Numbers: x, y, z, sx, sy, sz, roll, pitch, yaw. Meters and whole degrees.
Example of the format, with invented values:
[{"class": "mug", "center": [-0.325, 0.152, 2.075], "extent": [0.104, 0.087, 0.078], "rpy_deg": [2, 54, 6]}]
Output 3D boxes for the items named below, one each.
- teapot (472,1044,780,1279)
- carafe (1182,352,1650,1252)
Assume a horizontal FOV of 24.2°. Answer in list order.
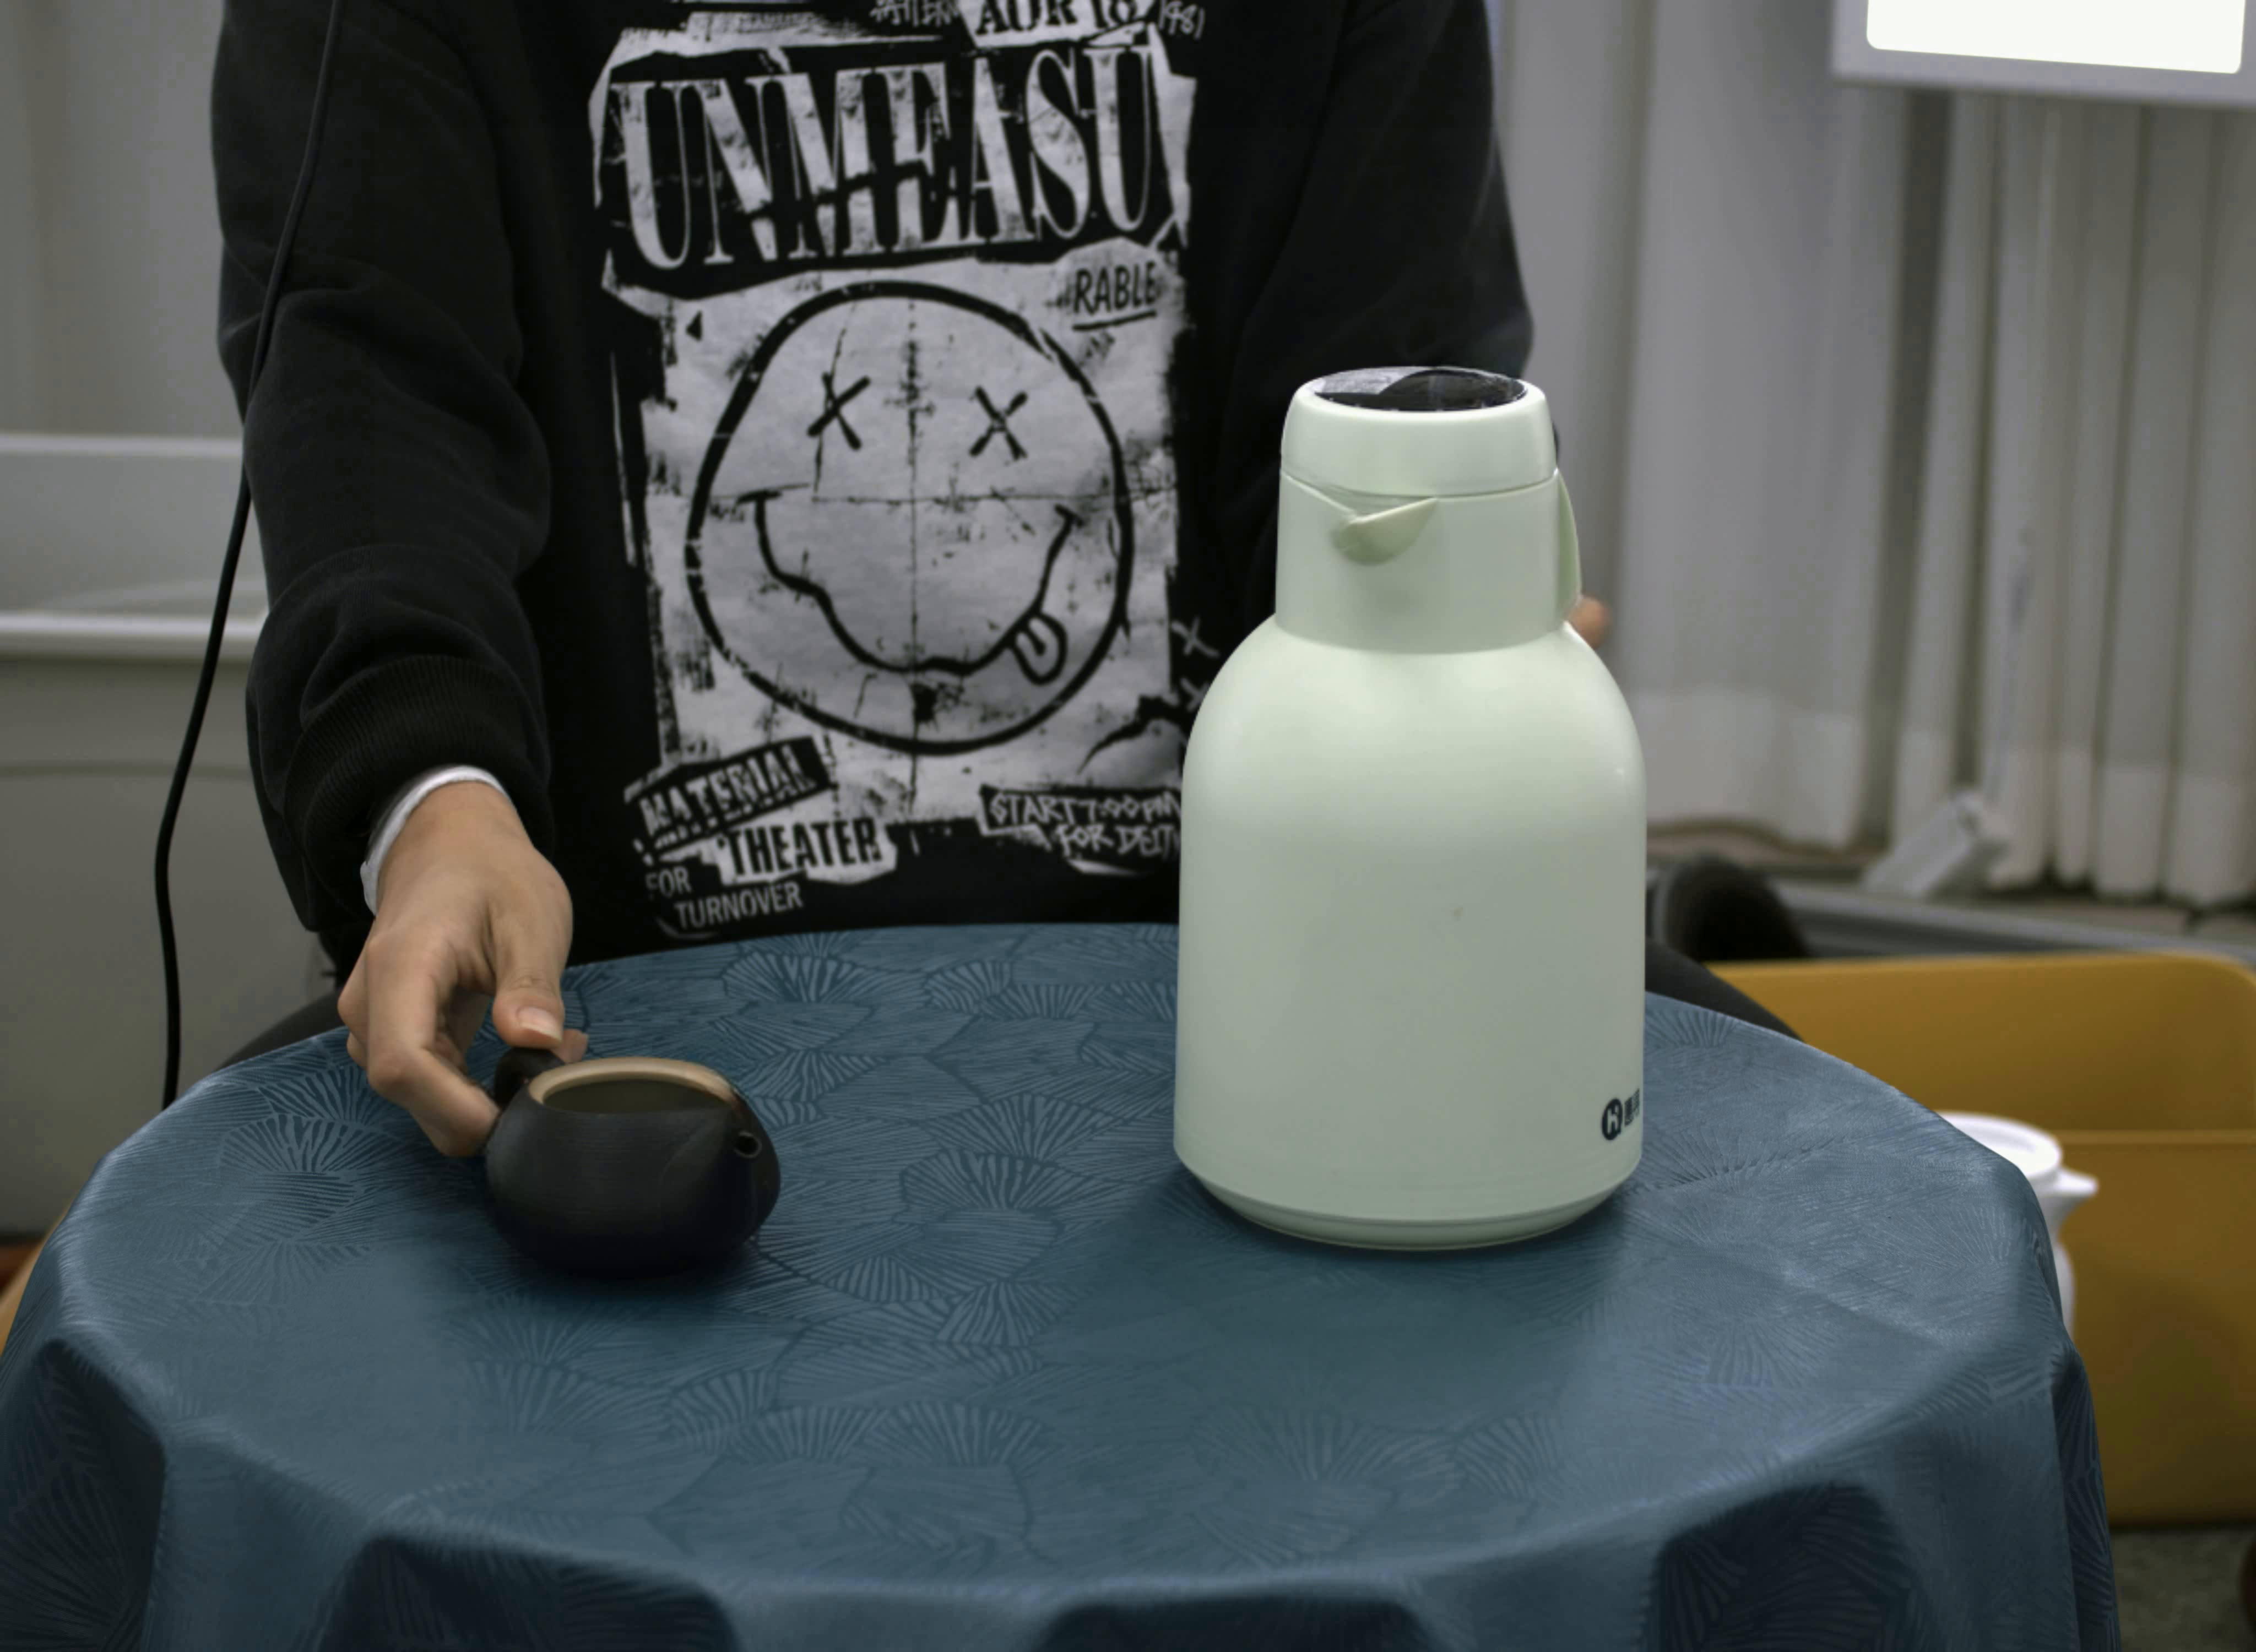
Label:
[{"class": "teapot", "center": [-0.149, 0.101, 1.558], "extent": [0.091, 0.053, 0.131], "rpy_deg": [-10, 19, -39]}, {"class": "carafe", "center": [0.093, -0.012, 1.605], "extent": [0.143, 0.258, 0.187], "rpy_deg": [5, 13, 22]}]
